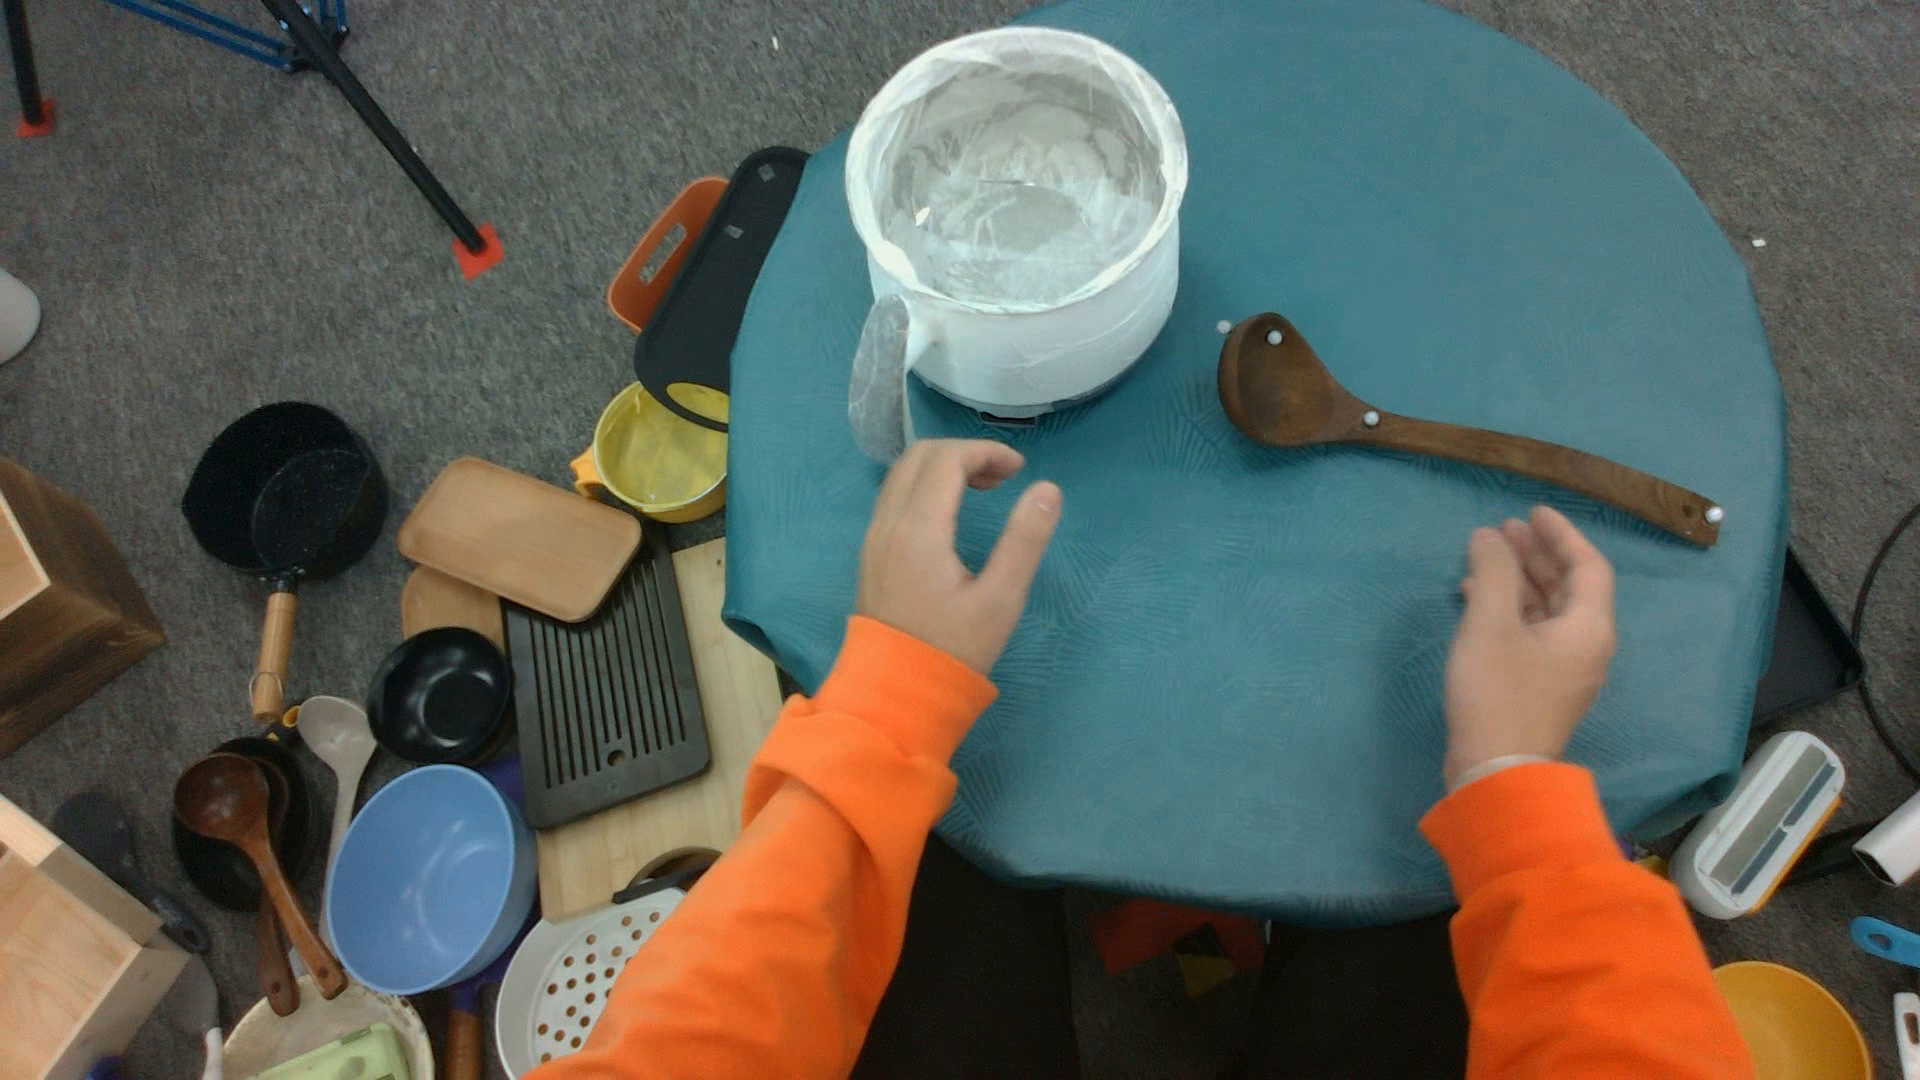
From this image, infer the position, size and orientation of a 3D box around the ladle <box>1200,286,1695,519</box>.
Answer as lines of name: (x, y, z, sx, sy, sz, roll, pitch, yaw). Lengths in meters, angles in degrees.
ladle: (0.263, -0.071, 0.740, 0.274, 0.071, 0.076, 17, 73, 12)

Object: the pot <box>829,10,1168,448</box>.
pot: (0.008, -0.159, 0.763, 0.179, 0.136, 0.234, 32, 74, 17)
